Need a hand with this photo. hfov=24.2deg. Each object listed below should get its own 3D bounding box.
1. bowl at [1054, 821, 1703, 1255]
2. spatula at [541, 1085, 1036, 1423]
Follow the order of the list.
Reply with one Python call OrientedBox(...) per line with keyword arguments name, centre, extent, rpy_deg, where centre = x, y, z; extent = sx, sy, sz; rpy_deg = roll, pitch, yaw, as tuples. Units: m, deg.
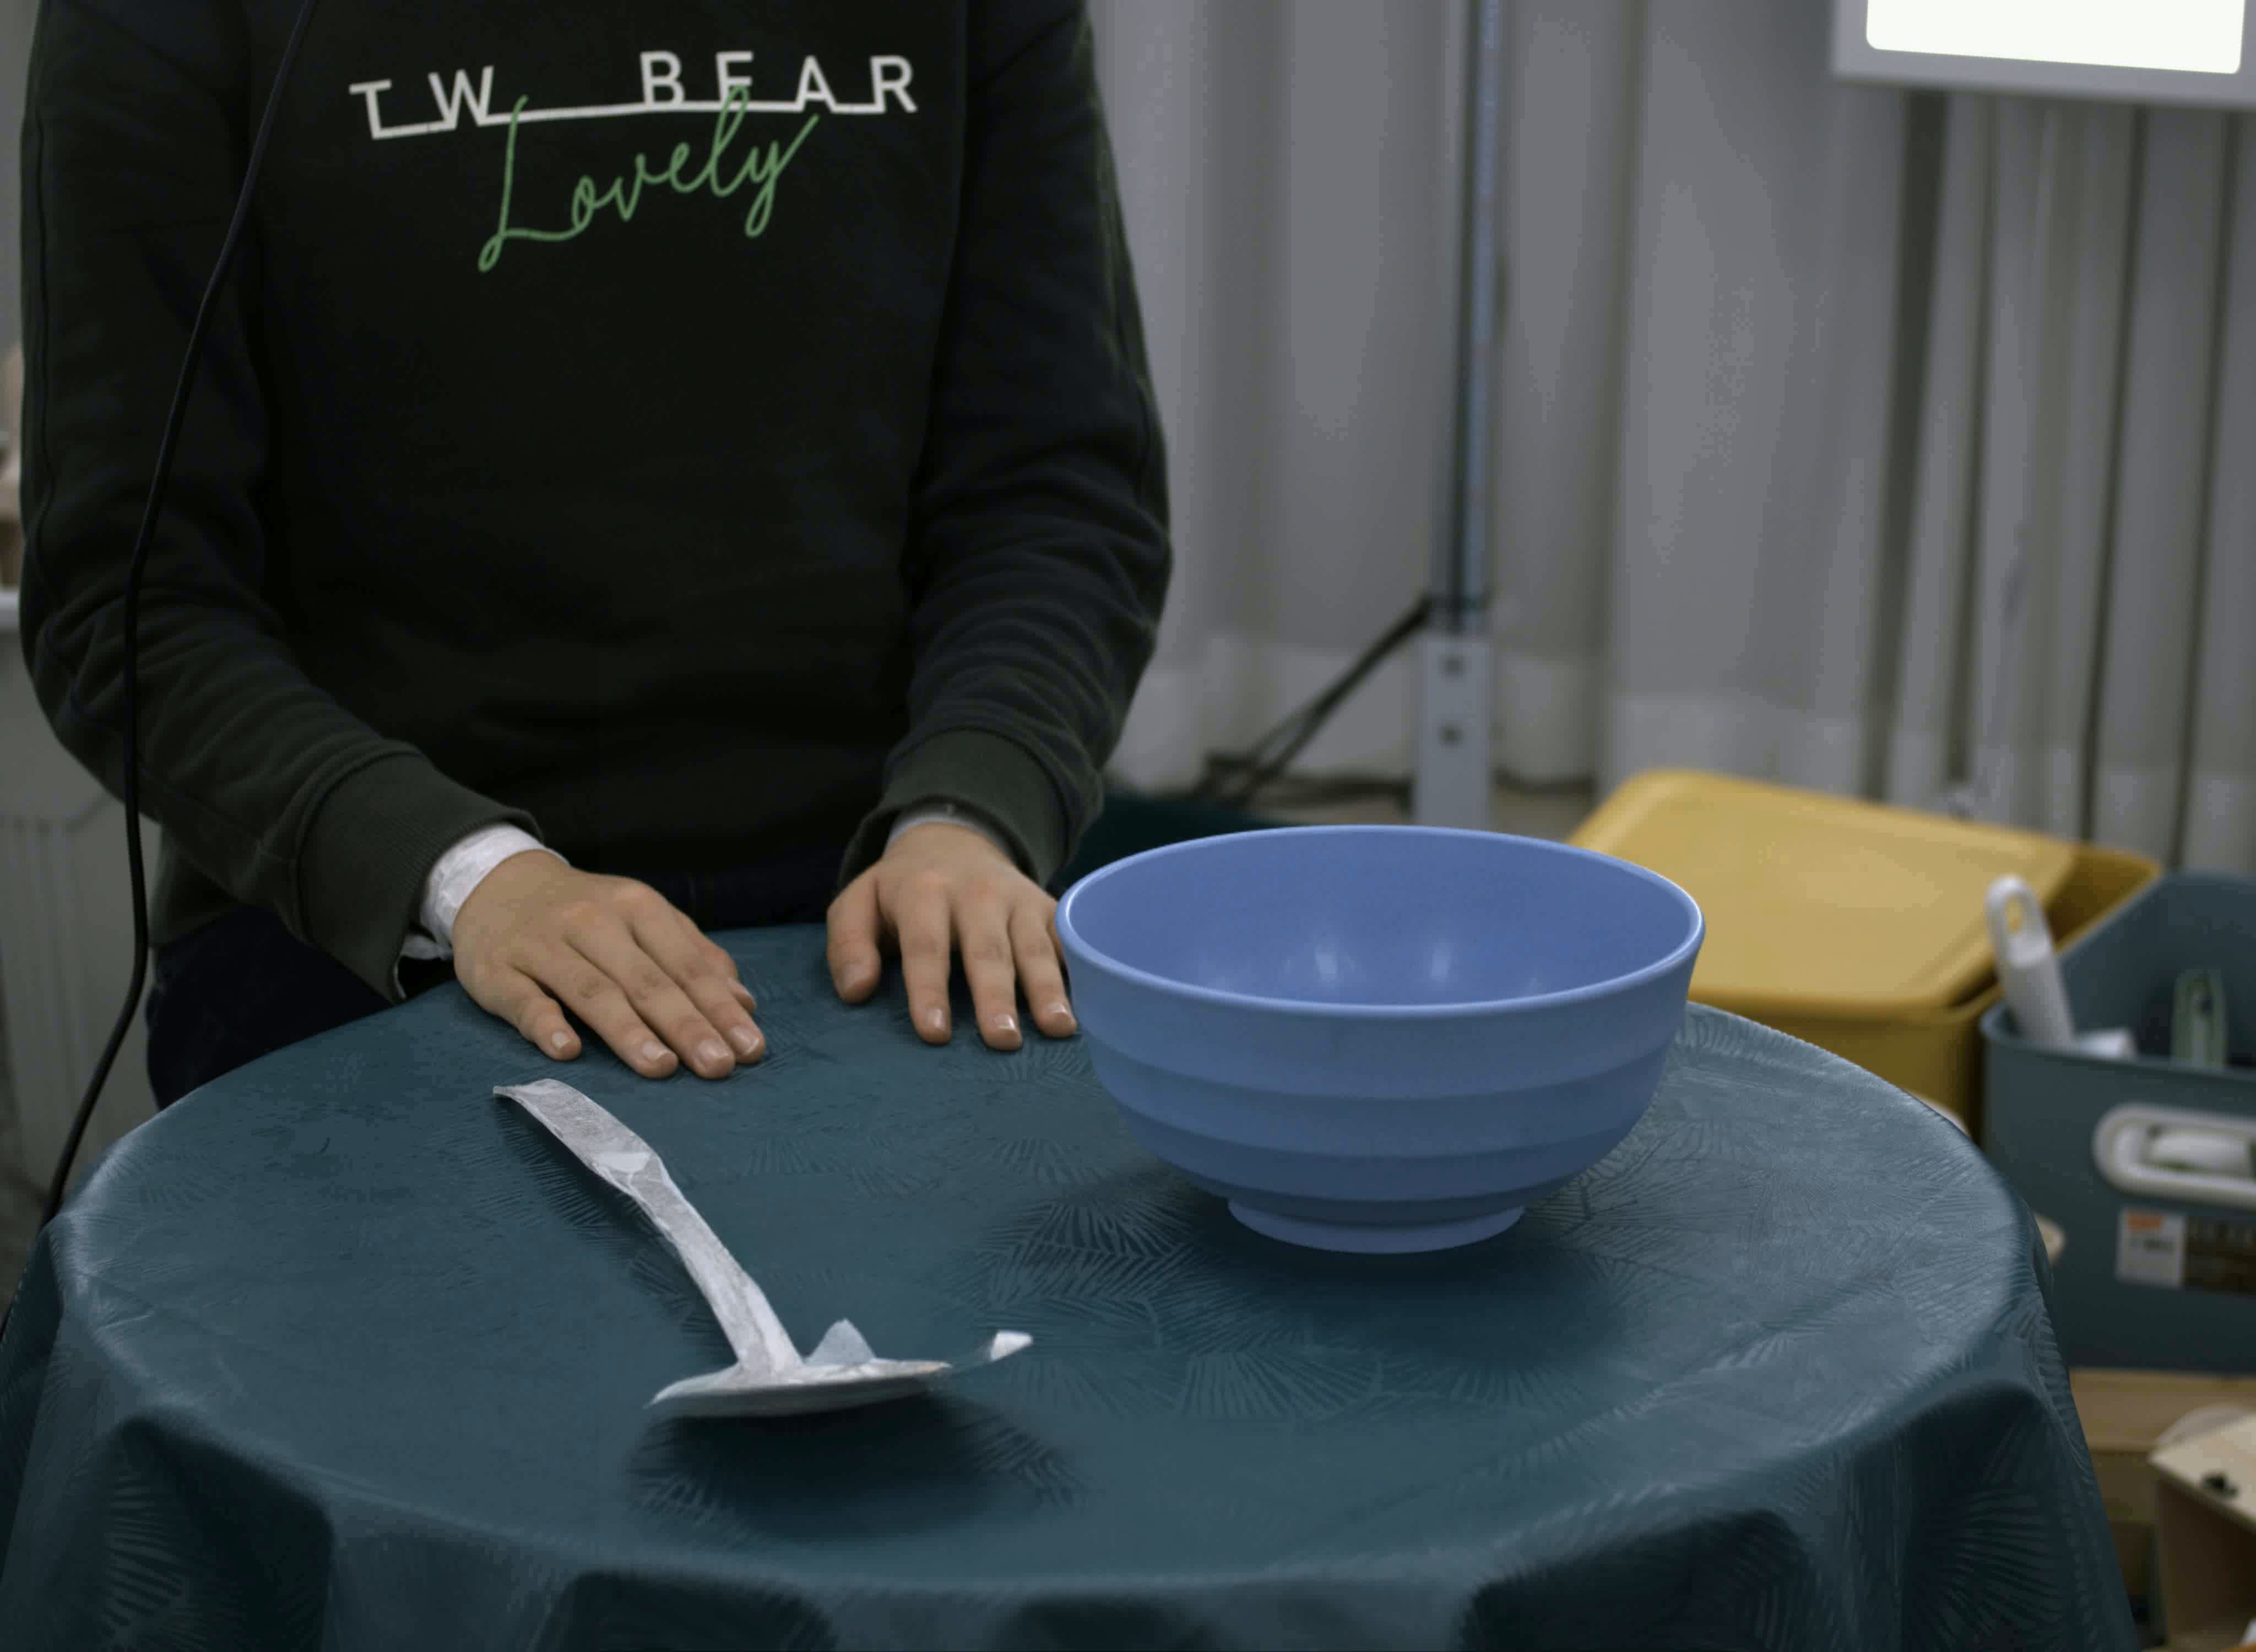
OrientedBox(name="bowl", centre=(0.076, 0.070, 1.603), extent=(0.196, 0.096, 0.195), rpy_deg=(0, 17, 1))
OrientedBox(name="spatula", centre=(-0.125, 0.116, 1.540), extent=(0.099, 0.045, 0.361), rpy_deg=(-7, 18, -19))
